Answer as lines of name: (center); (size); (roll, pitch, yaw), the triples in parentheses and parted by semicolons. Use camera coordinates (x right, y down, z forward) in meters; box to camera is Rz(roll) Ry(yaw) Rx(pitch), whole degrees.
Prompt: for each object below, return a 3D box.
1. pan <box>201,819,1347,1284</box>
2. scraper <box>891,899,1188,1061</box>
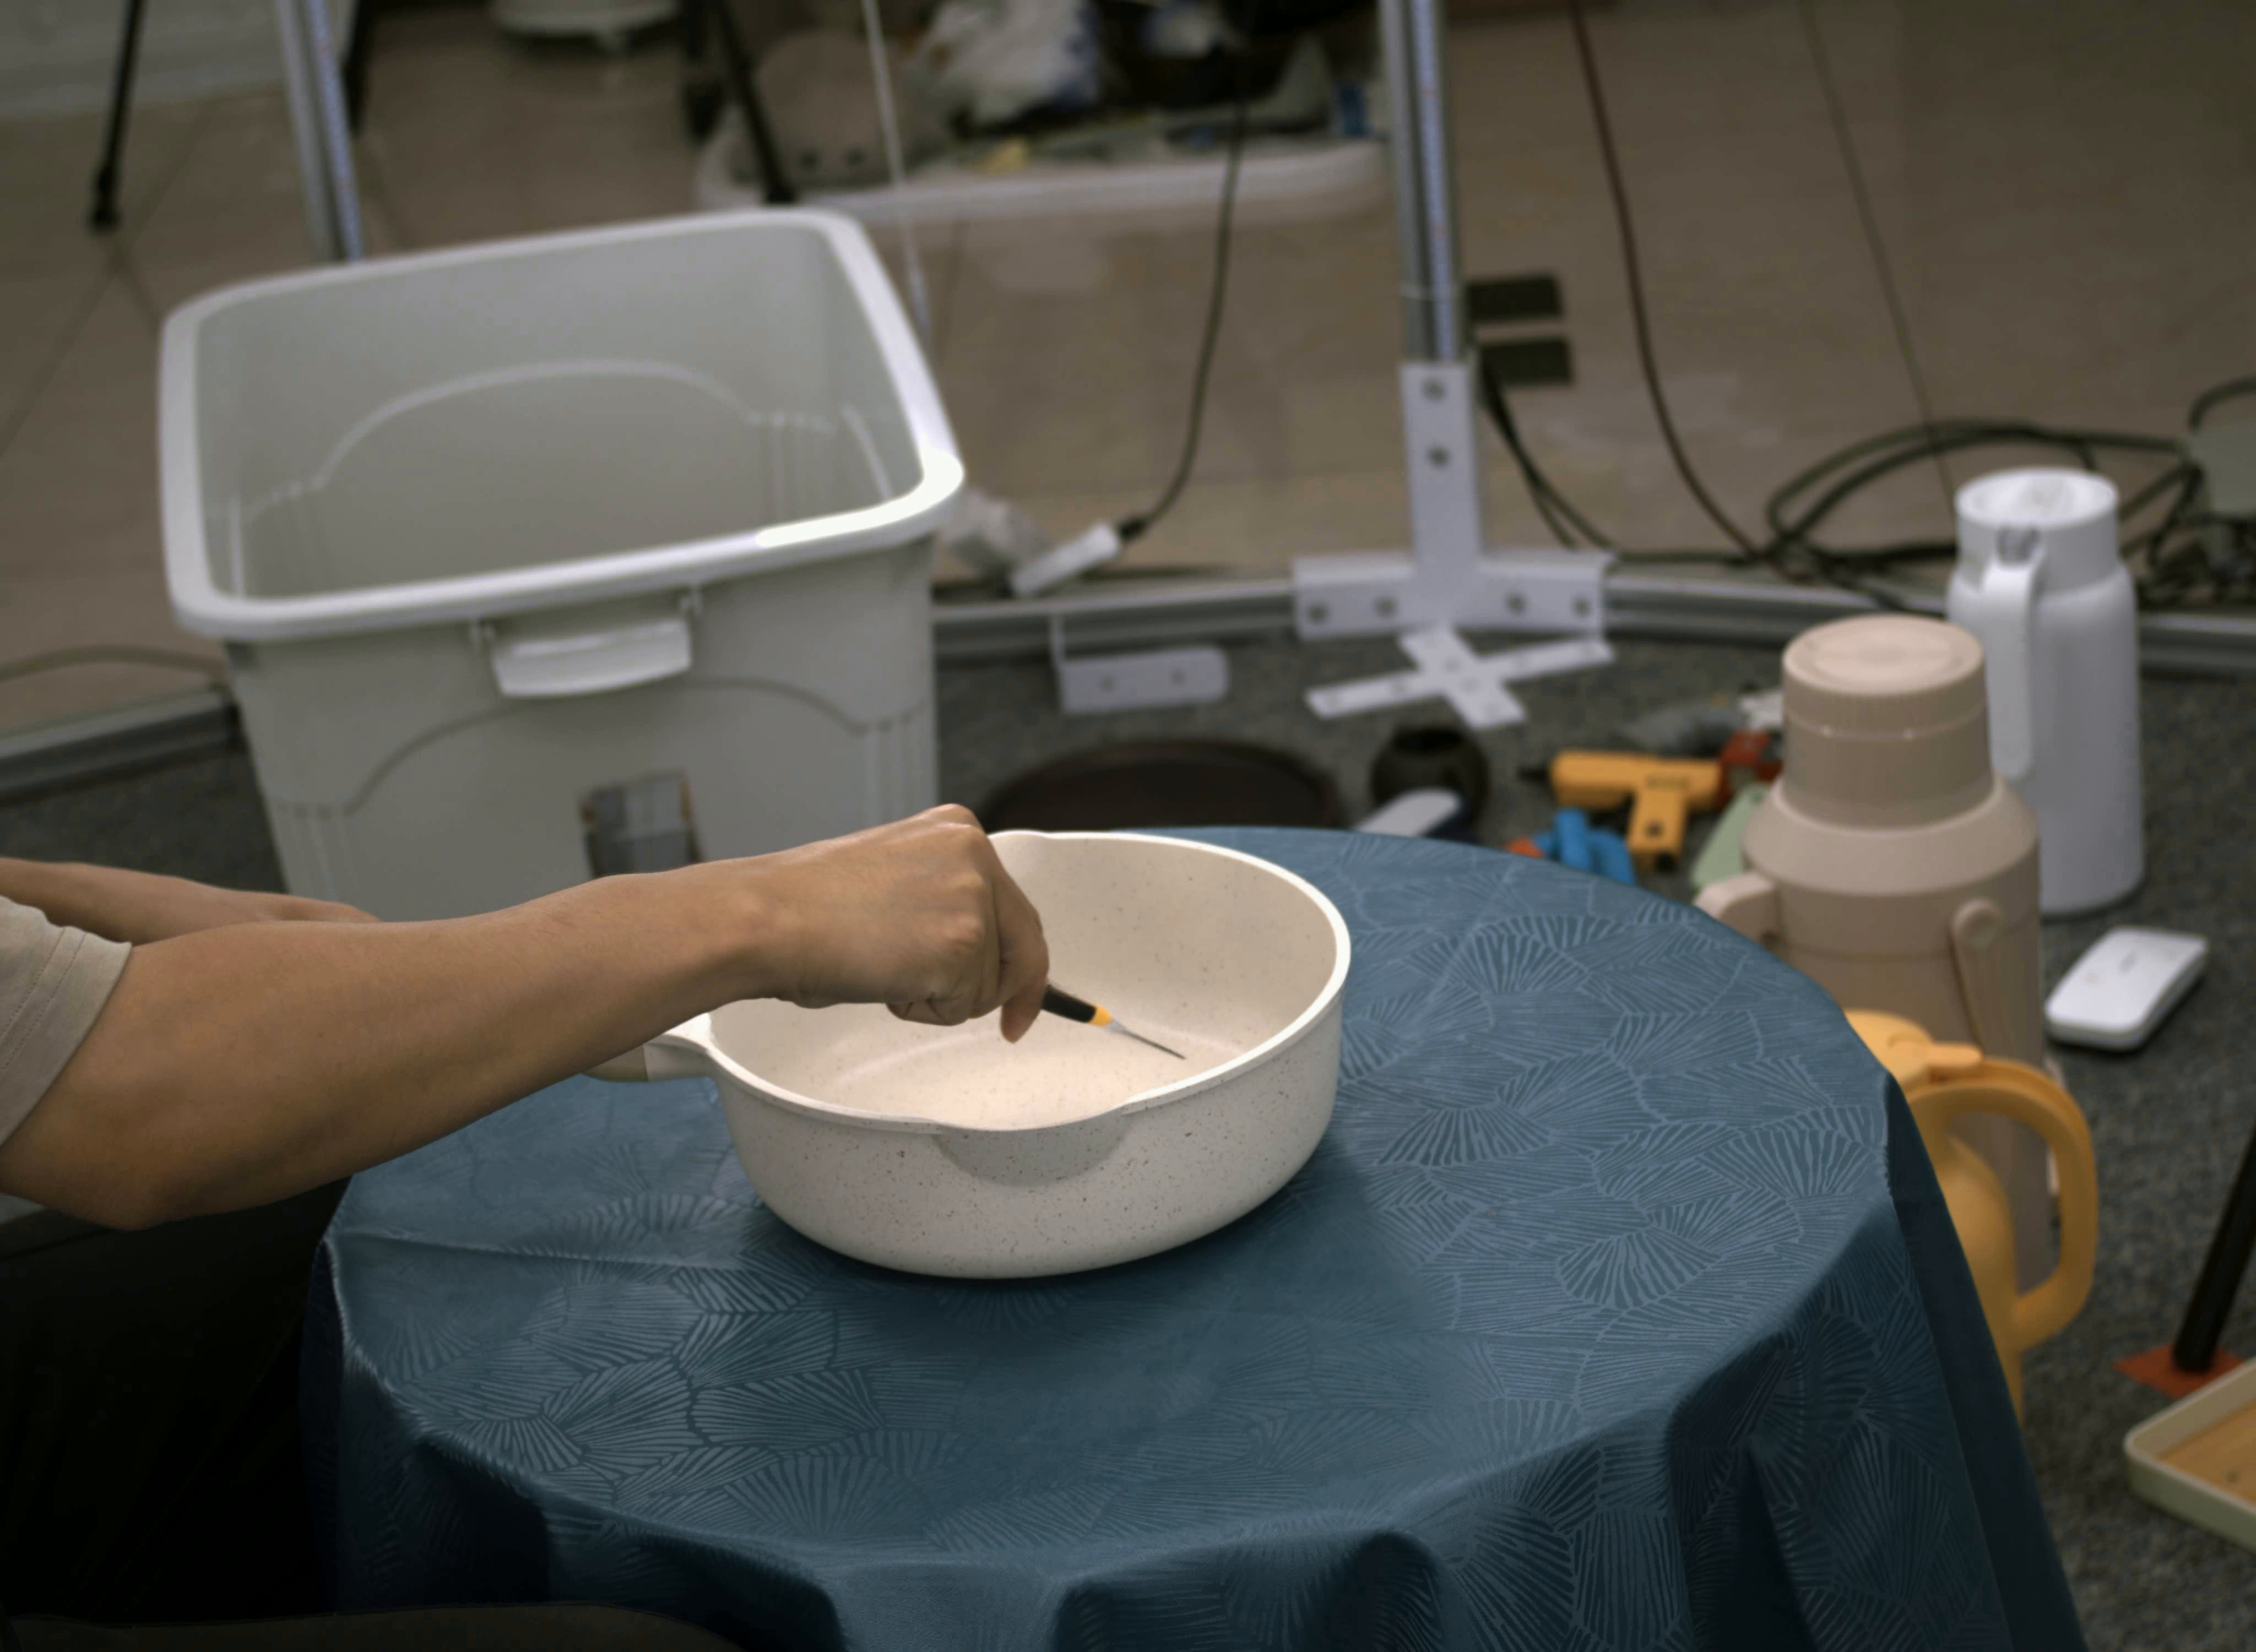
pan: (-0.130, 0.094, 2.166); (0.434, 0.104, 0.259); (-7, 27, -1)
scraper: (-0.033, 0.057, 2.068); (0.038, 0.015, 0.172); (27, -2, 36)
